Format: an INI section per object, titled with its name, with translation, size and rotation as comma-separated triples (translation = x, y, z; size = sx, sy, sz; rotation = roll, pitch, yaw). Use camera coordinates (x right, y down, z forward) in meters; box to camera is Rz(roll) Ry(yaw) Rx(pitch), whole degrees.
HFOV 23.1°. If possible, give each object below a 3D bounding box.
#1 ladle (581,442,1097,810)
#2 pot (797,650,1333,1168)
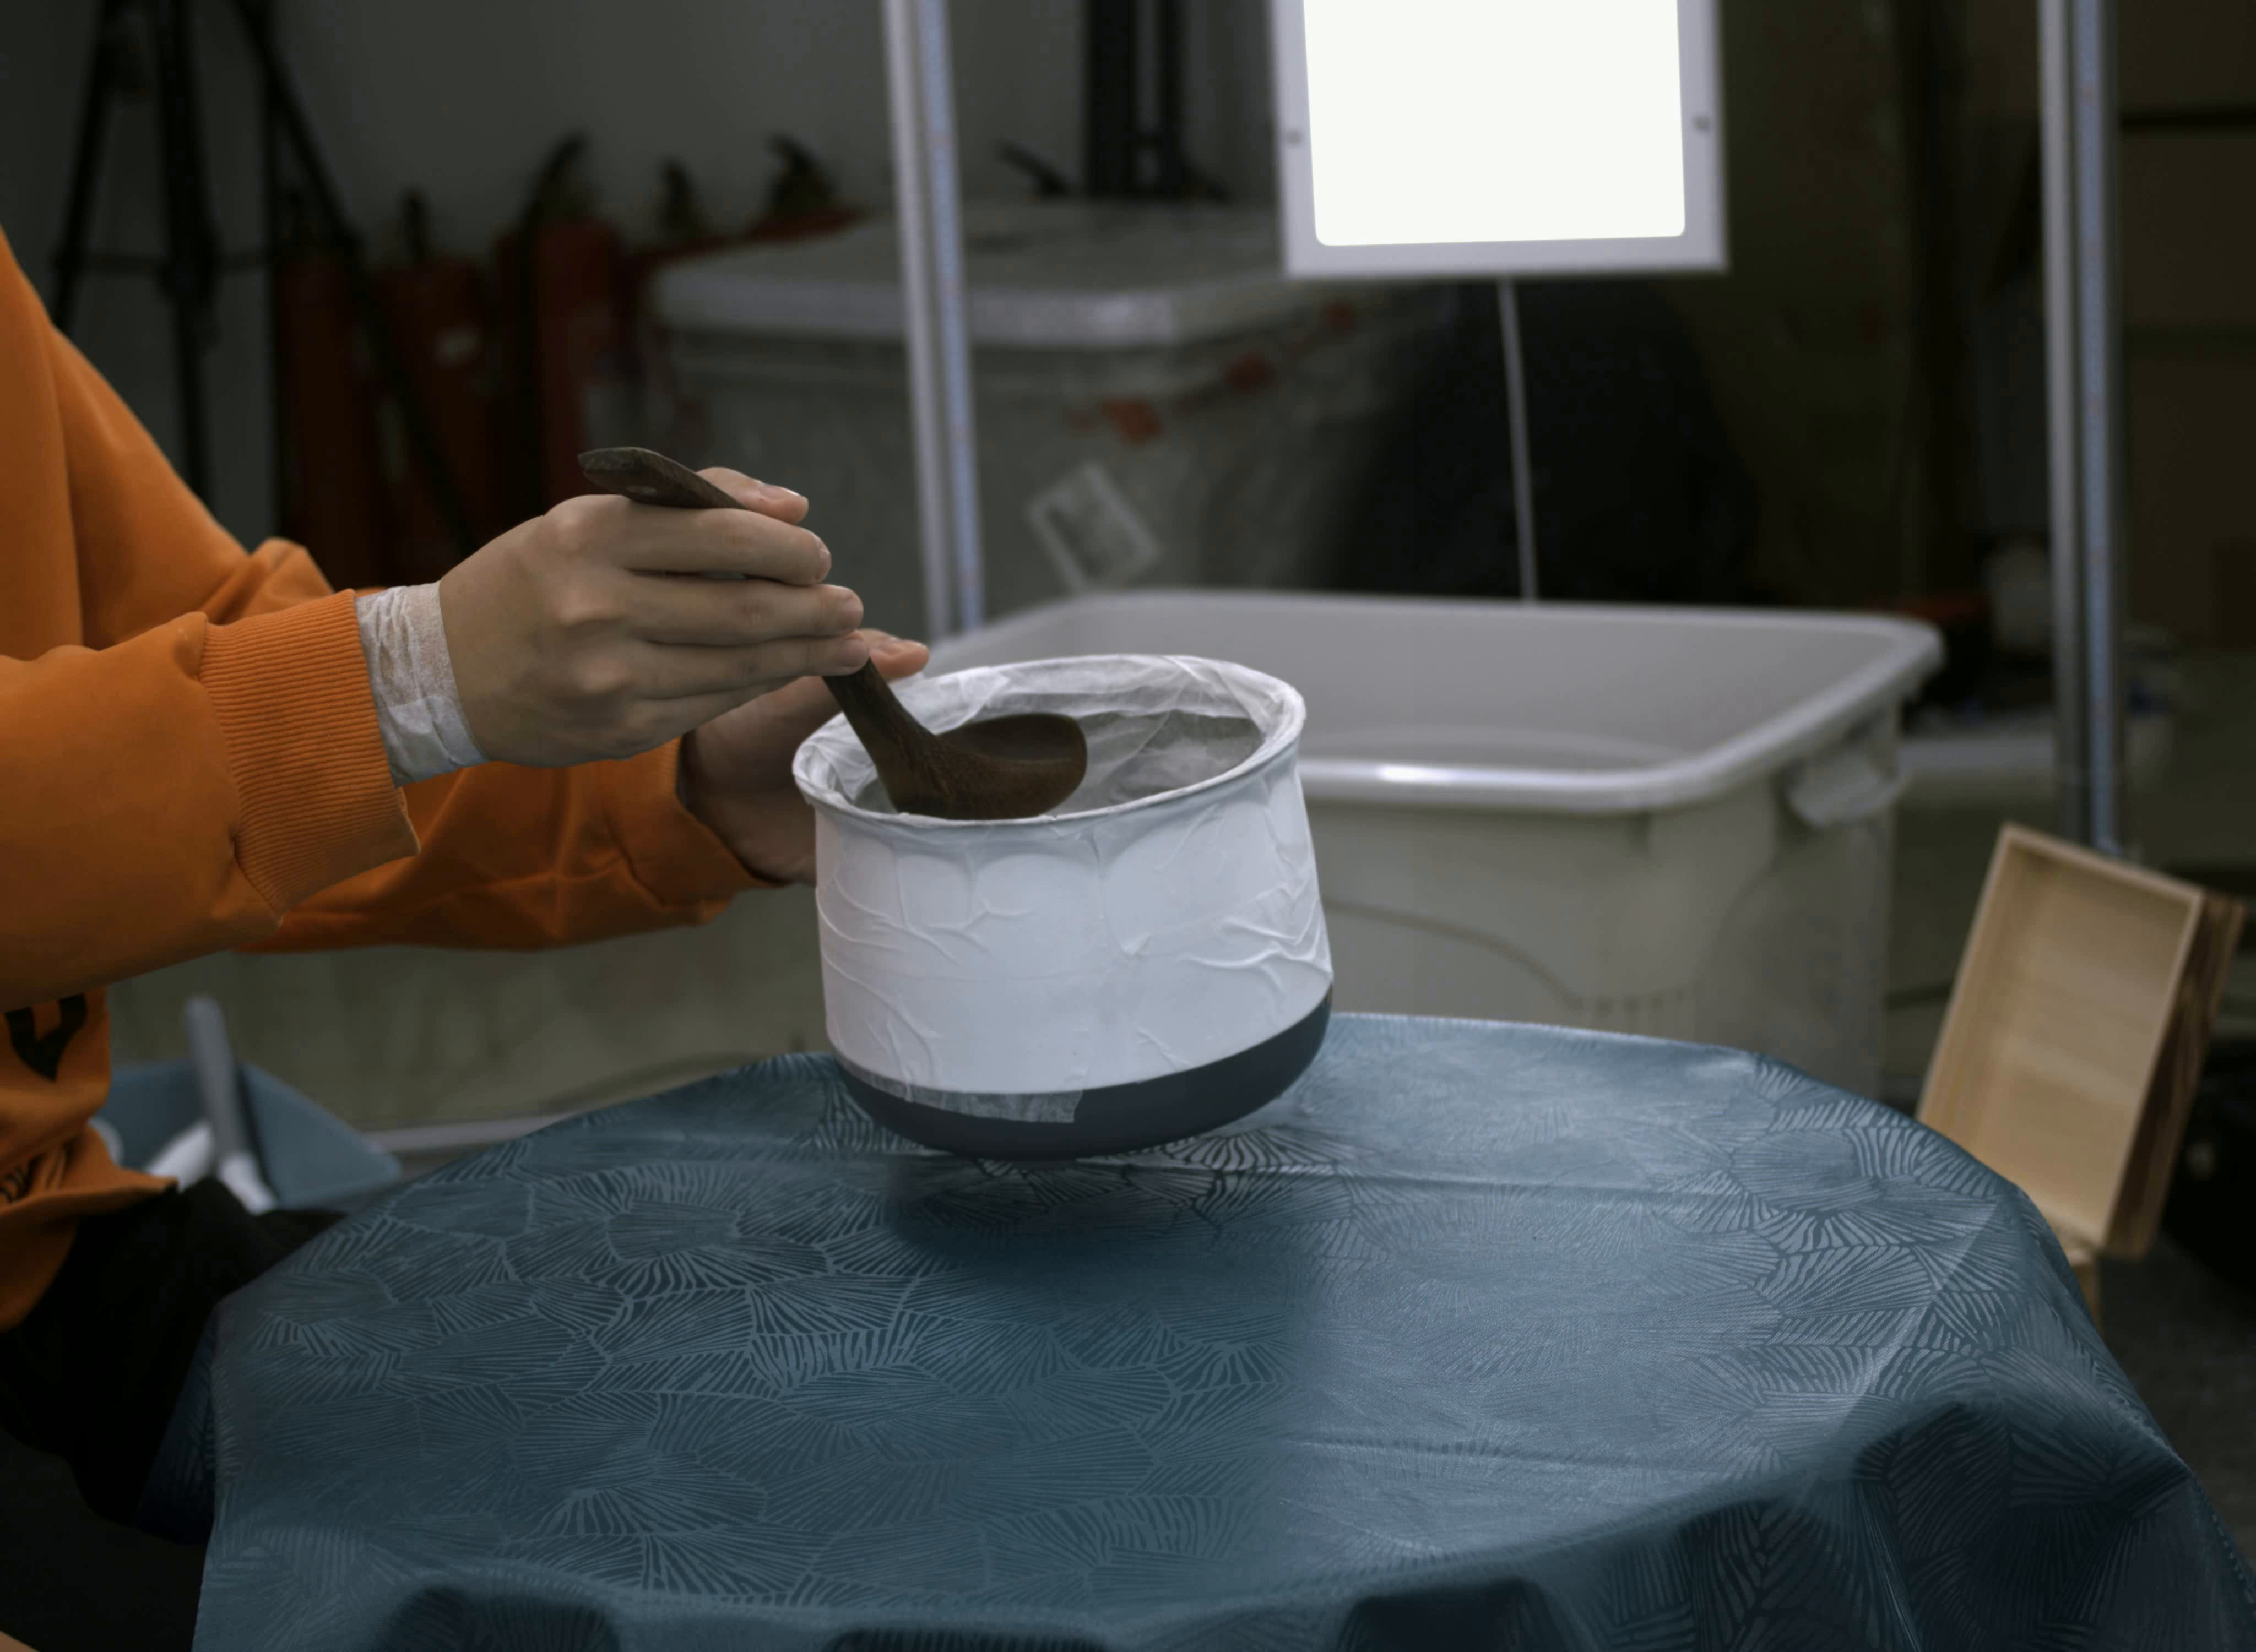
[ladle]
translation = -0.094, -0.075, 1.800
size = 0.077, 0.071, 0.270
rotation = -6, -33, 28
[pot]
translation = -0.035, 0.022, 1.918
size = 0.175, 0.137, 0.238
rotation = -17, 22, -29
